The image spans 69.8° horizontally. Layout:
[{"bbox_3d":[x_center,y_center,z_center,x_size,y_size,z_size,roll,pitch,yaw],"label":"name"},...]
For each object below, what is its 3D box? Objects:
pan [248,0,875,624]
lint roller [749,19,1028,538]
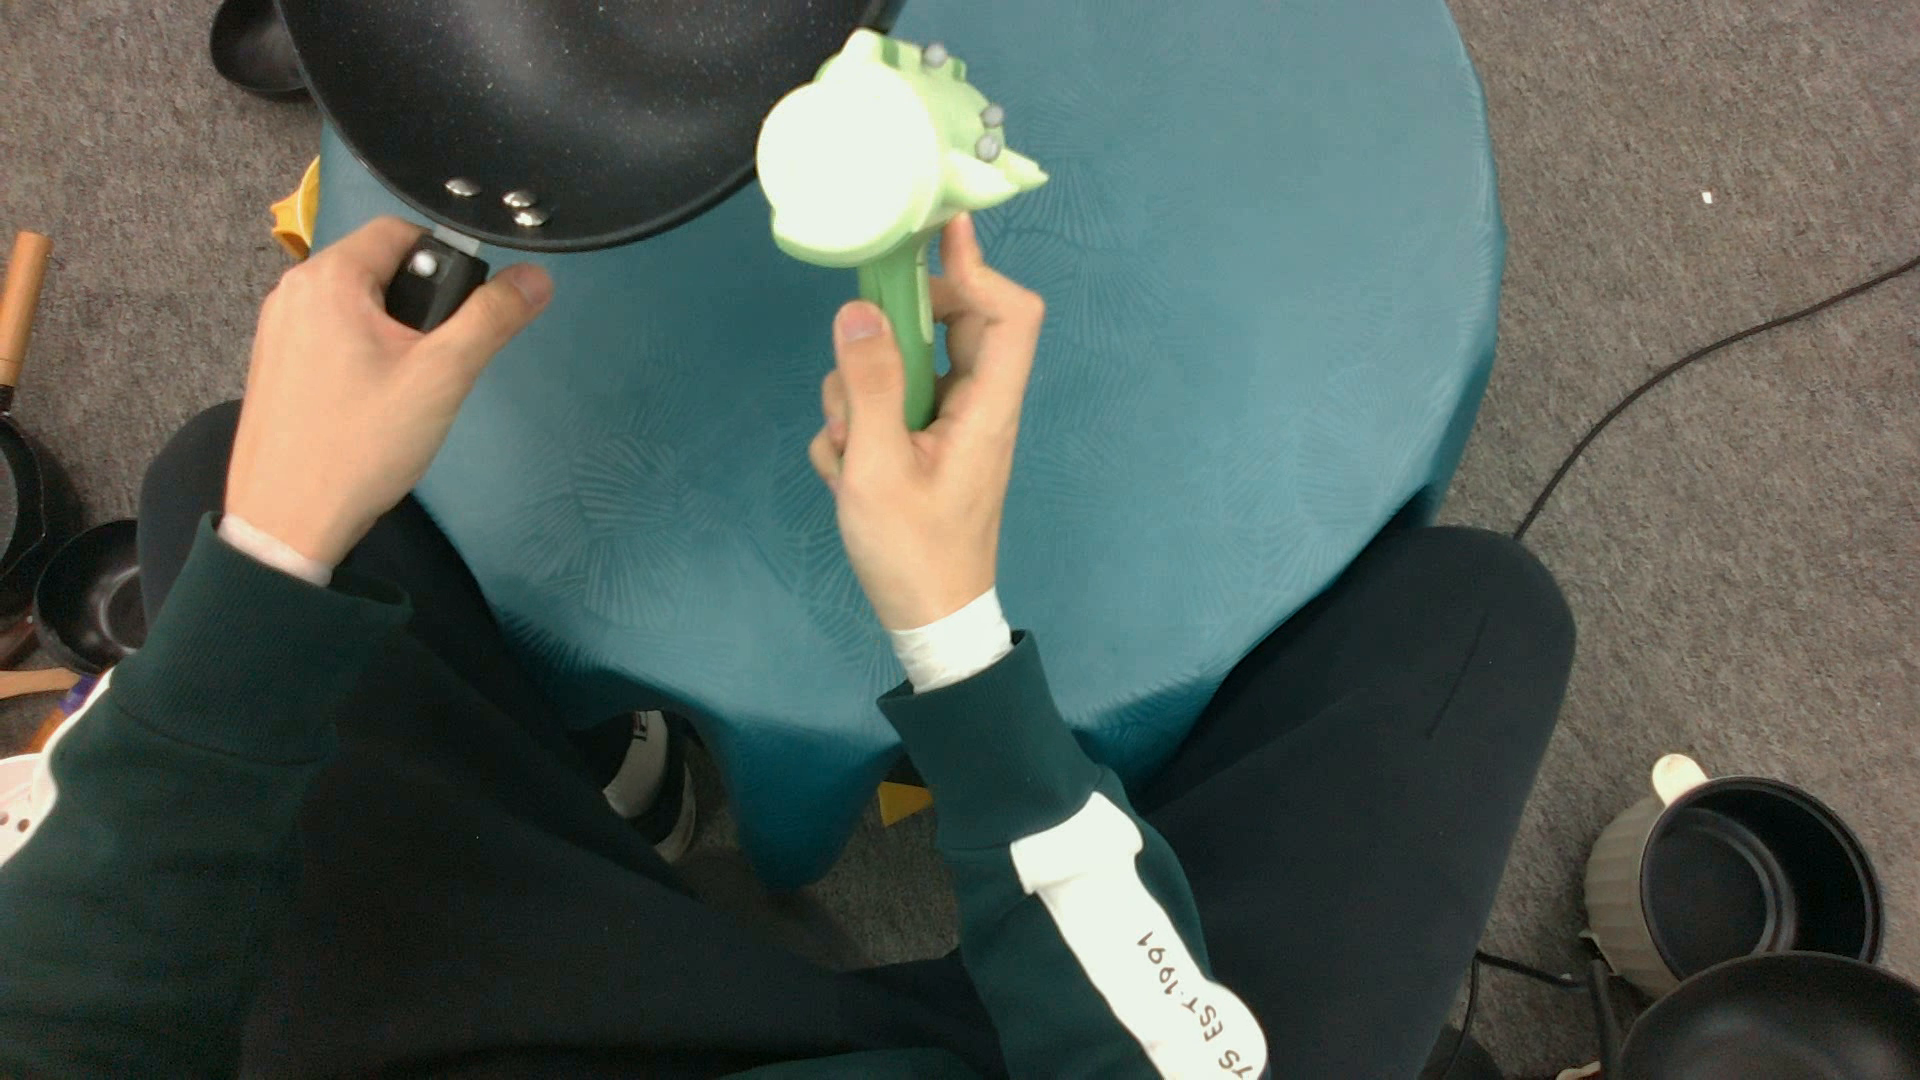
[{"bbox_3d":[-0.163,-0.190,0.523,0.310,0.112,0.475,25,104,22],"label":"pan"},{"bbox_3d":[-0.013,-0.091,0.505,0.082,0.199,0.183,-6,107,9],"label":"lint roller"}]
